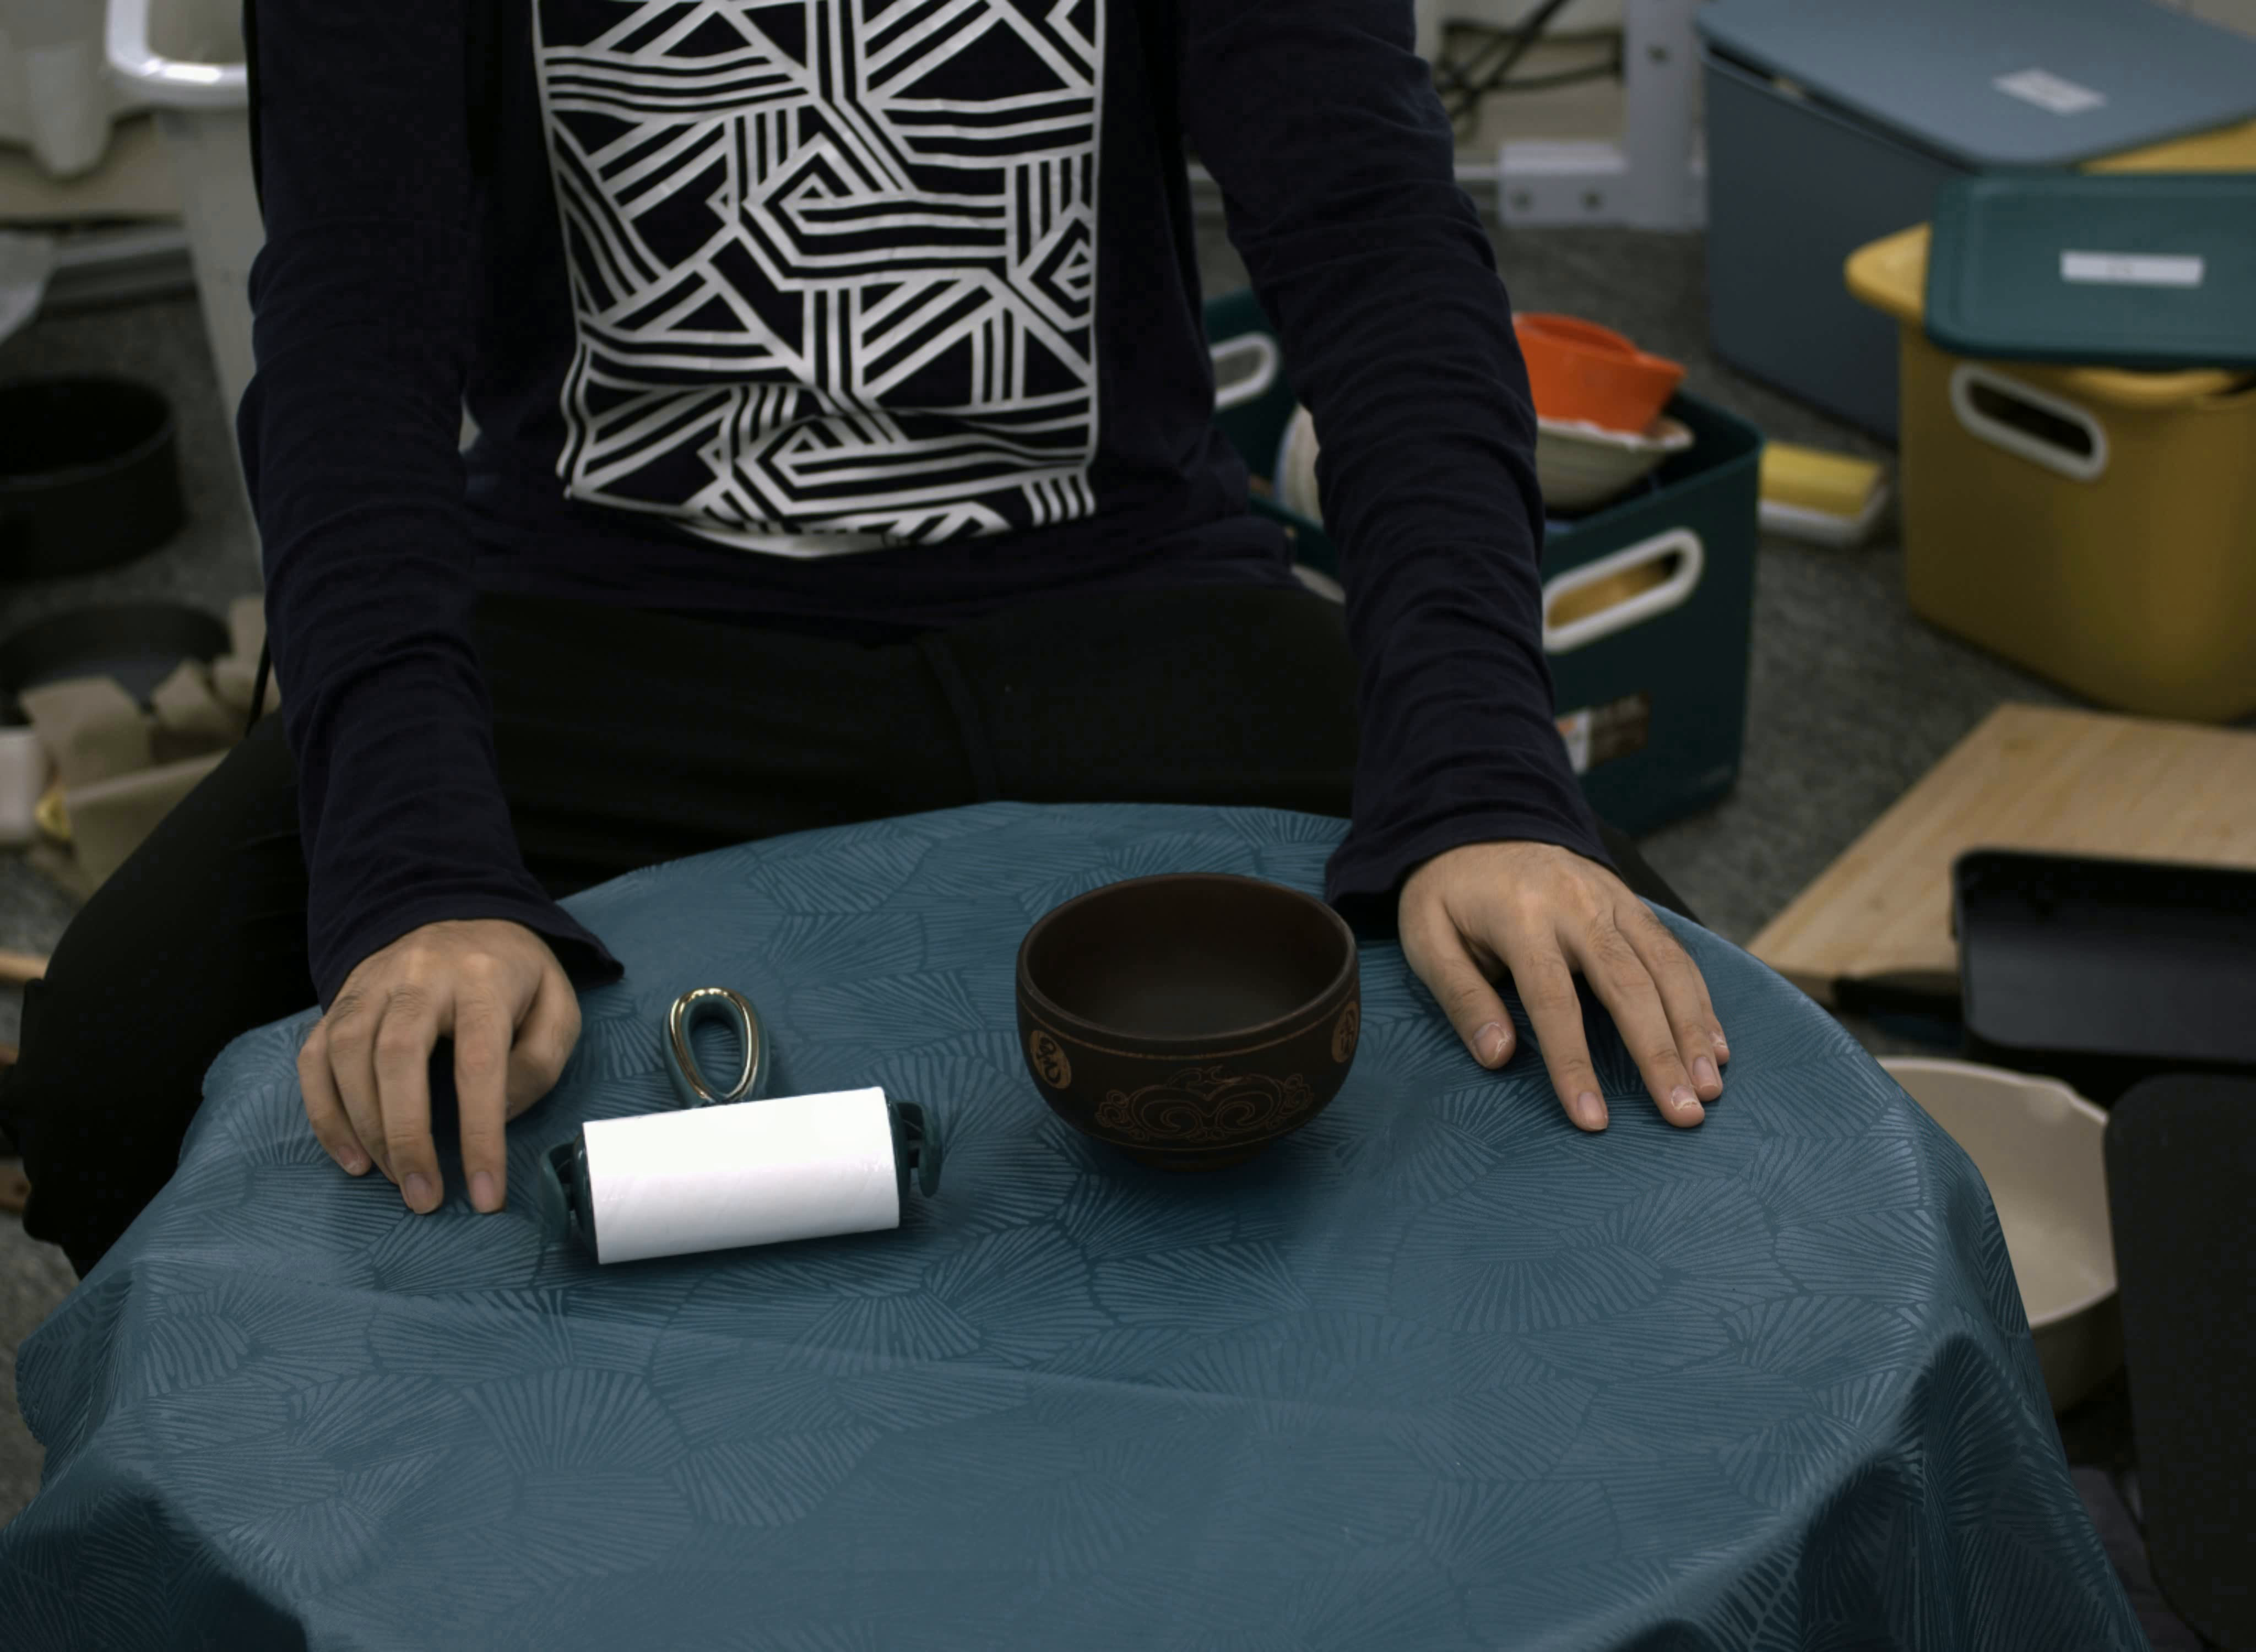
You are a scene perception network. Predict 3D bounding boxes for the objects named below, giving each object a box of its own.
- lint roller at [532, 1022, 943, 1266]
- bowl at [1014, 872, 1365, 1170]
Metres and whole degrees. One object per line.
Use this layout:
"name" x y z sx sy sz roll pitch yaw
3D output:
"lint roller" -0.138 0.088 1.897 0.134 0.048 0.182 -7 24 -7
"bowl" 0.022 0.072 1.879 0.117 0.069 0.120 -4 25 2
